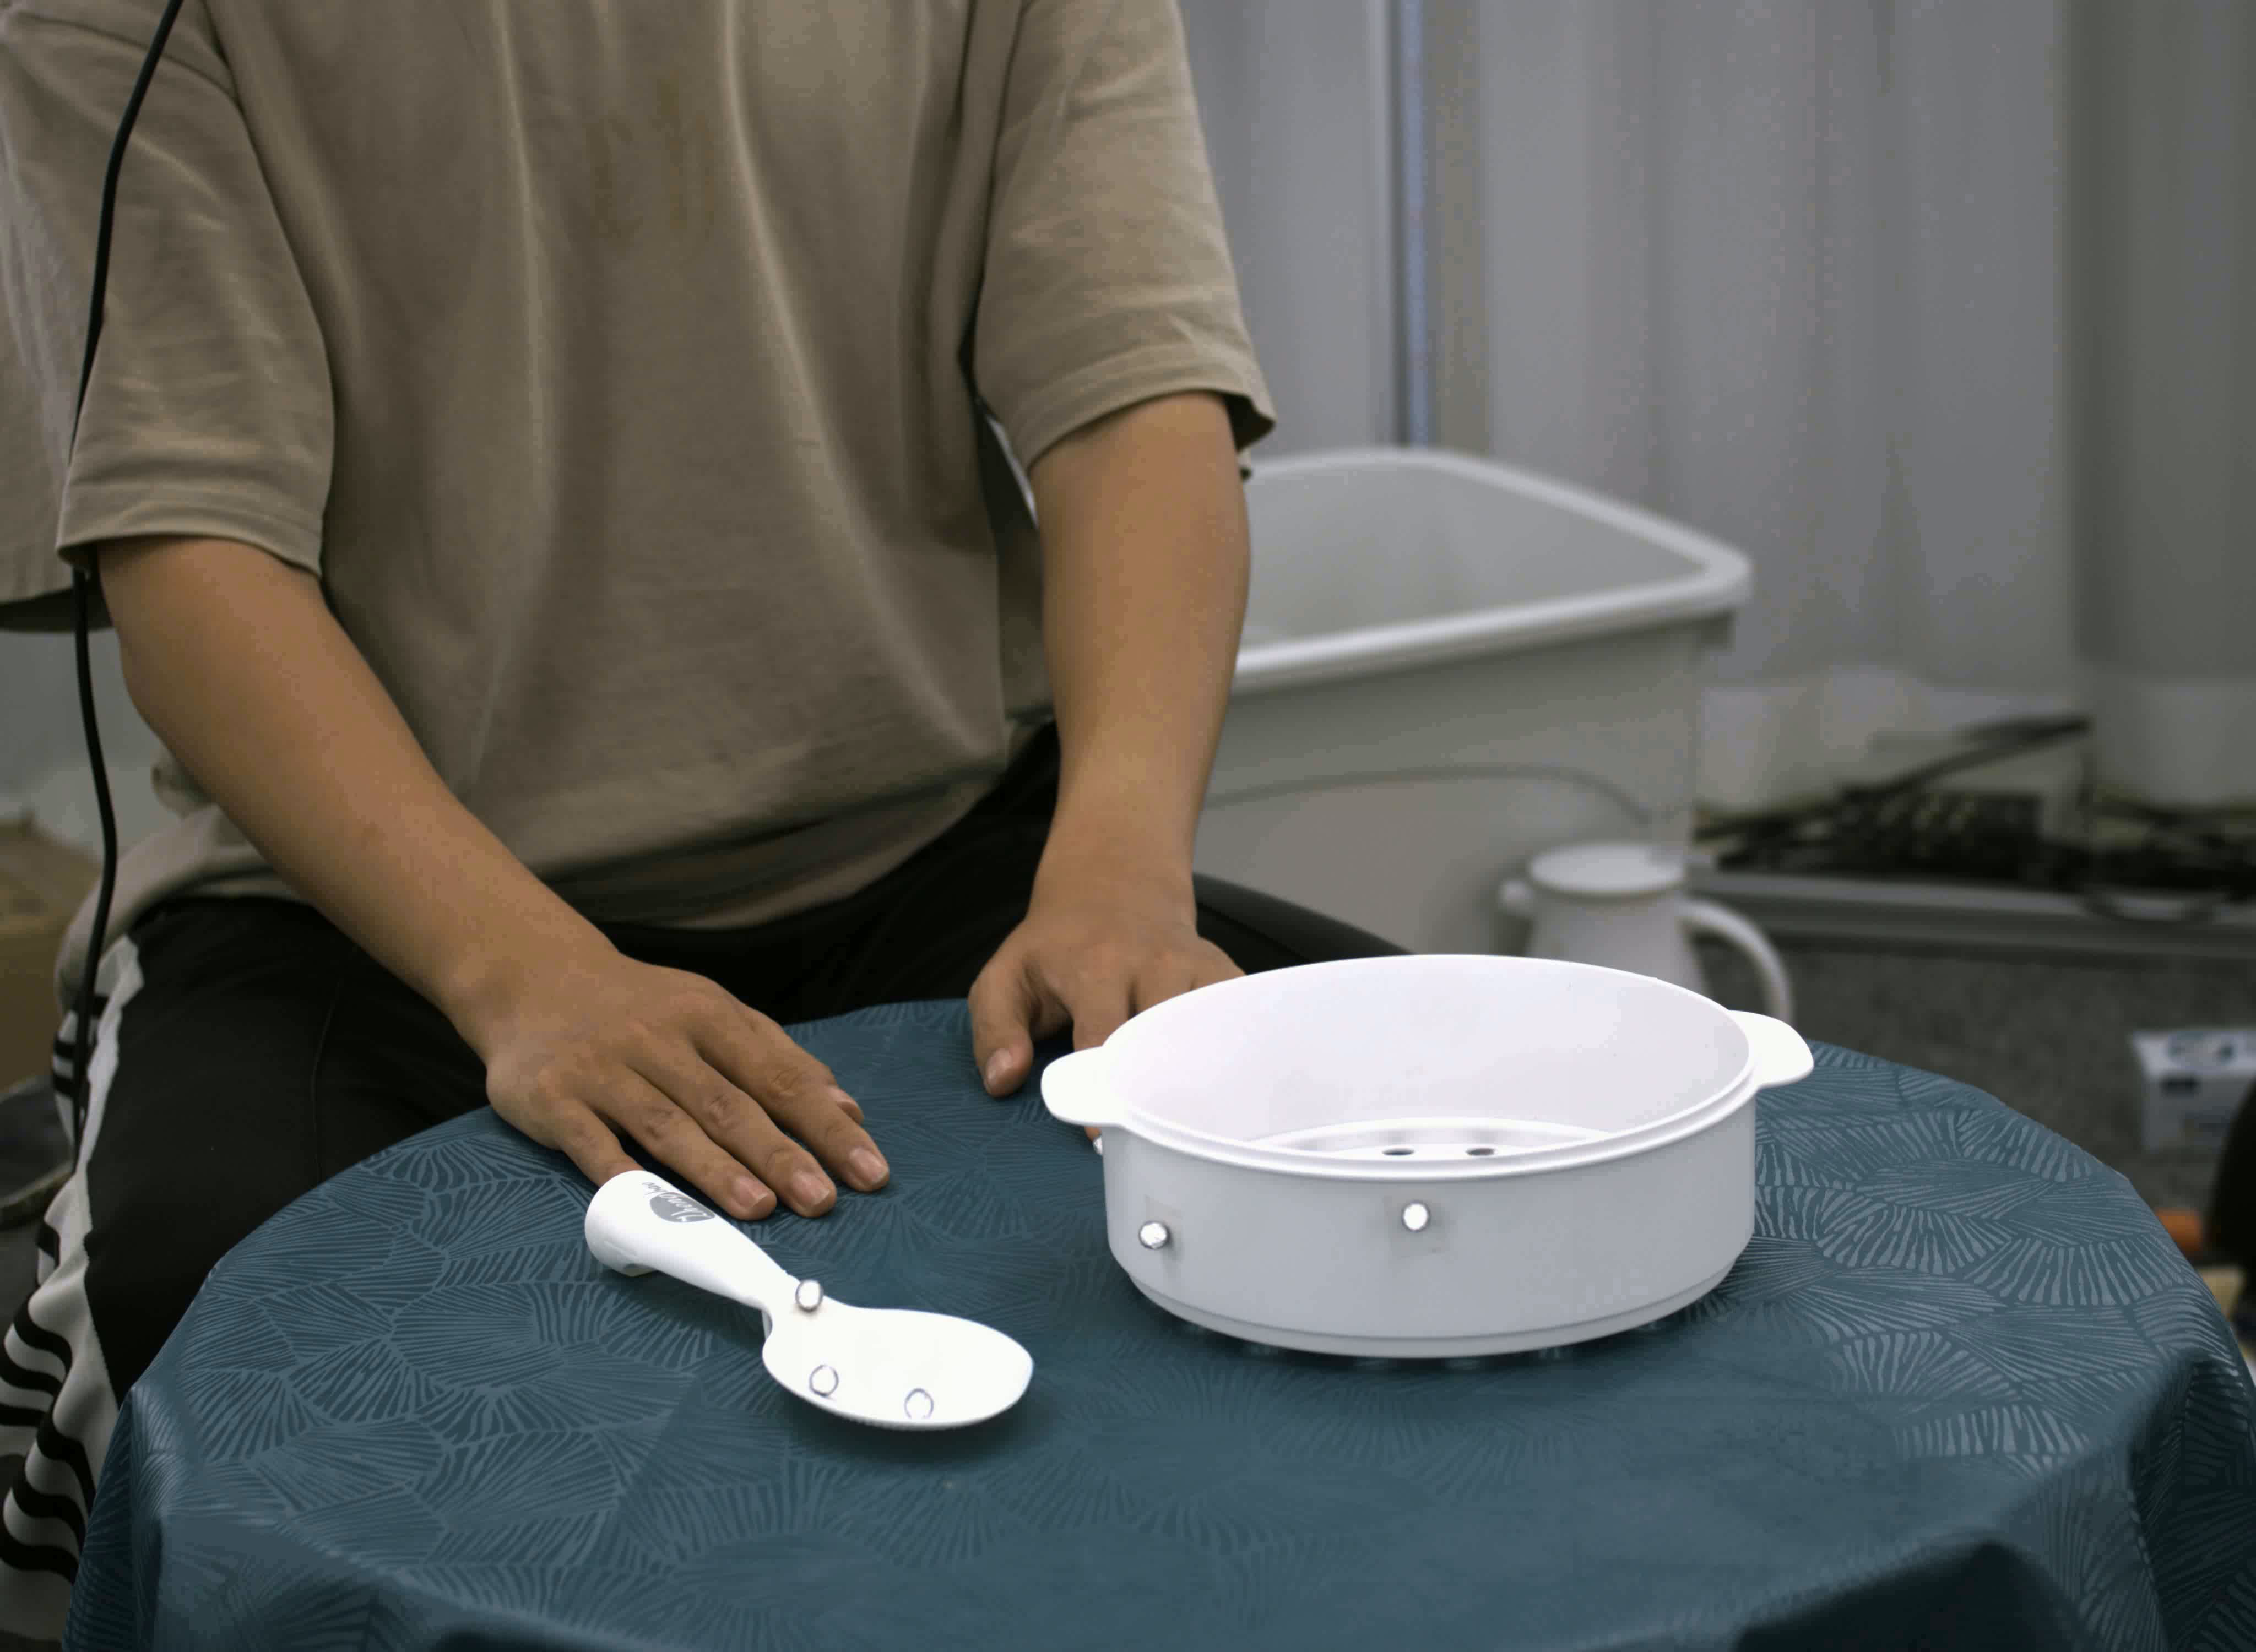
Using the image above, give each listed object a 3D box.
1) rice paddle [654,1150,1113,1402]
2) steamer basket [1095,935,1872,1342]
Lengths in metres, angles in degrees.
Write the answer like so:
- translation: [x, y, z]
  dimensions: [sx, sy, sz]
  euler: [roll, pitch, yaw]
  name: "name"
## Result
- translation: [-0.074, 0.132, 1.585]
  dimensions: [0.068, 0.029, 0.207]
  euler: [-14, 18, -31]
  name: "rice paddle"
- translation: [0.105, 0.093, 1.631]
  dimensions: [0.230, 0.069, 0.203]
  euler: [-2, 15, -3]
  name: "steamer basket"
